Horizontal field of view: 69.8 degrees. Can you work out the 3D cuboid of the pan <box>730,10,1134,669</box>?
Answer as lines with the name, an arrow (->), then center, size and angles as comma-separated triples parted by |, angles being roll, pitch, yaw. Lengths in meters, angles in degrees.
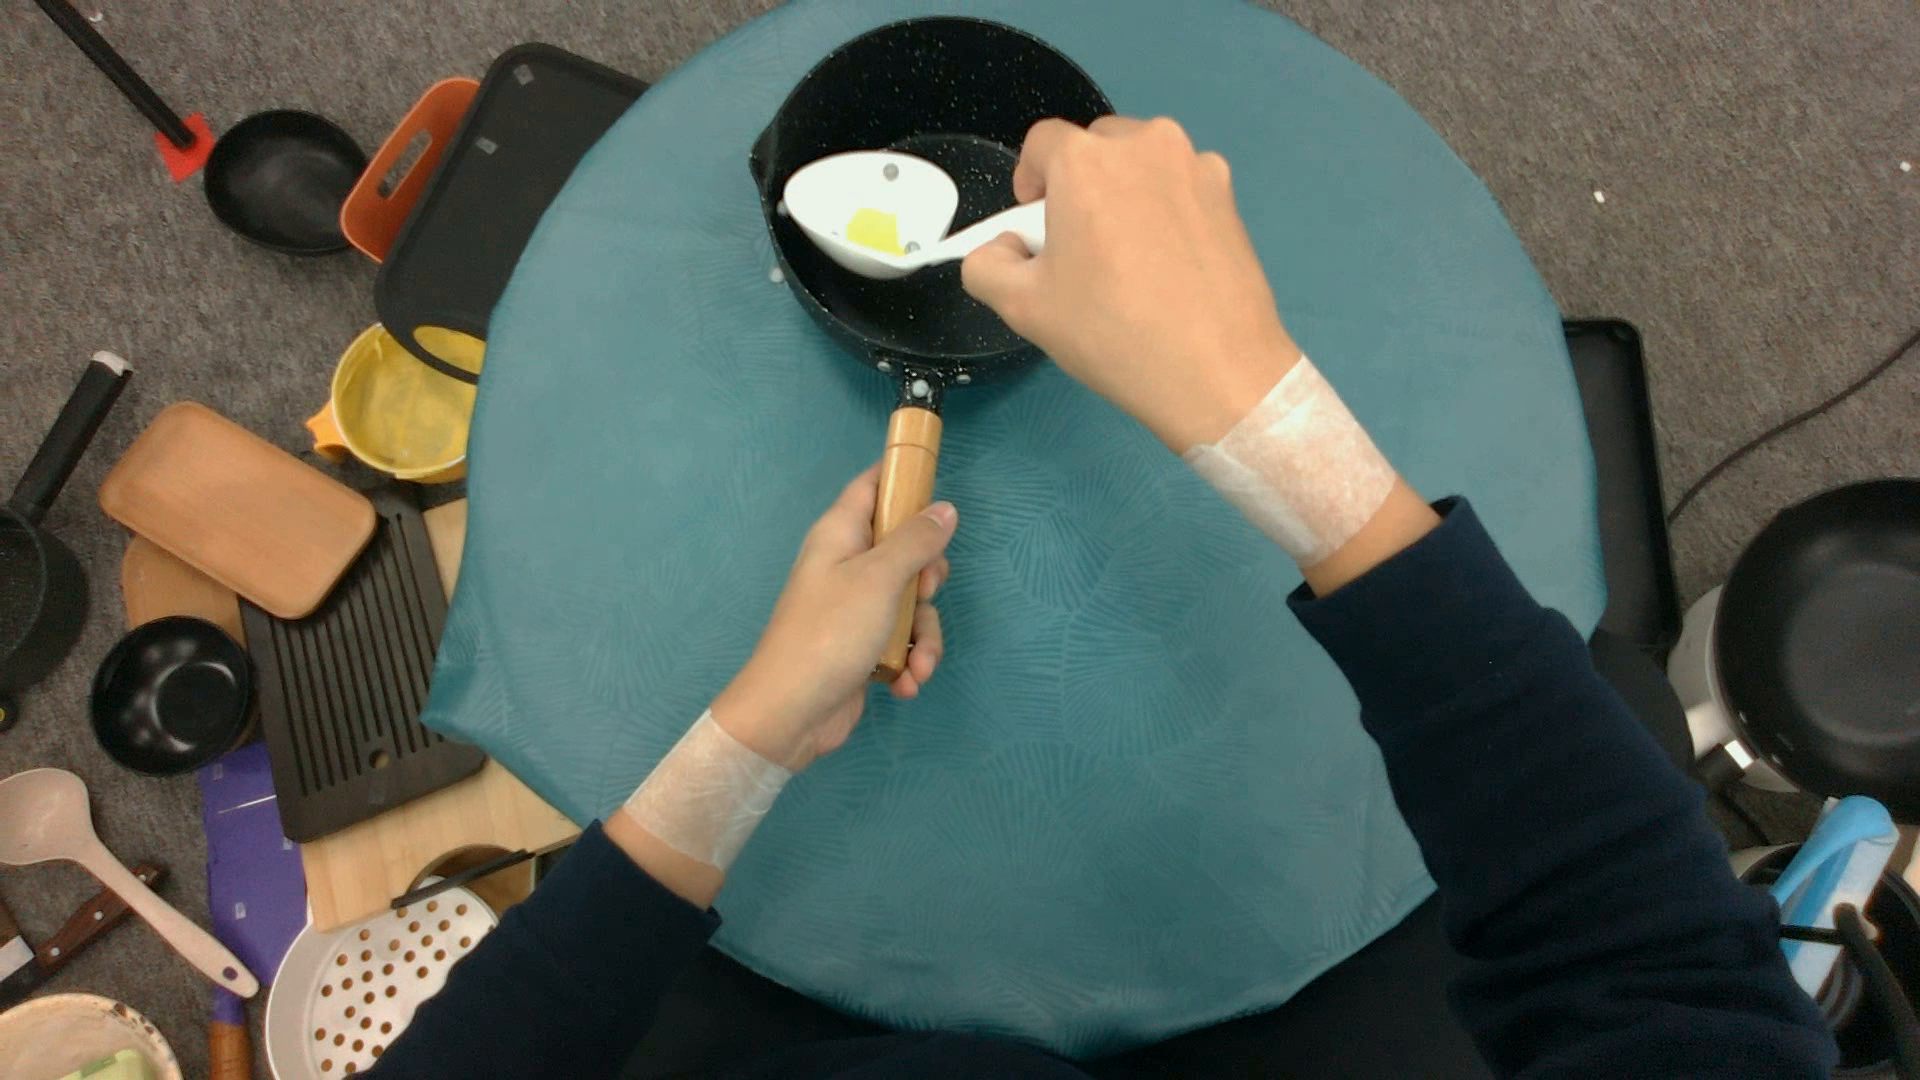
pan -> -0.021, -0.096, 0.687 | 0.207, 0.108, 0.343 | 7, 74, -2

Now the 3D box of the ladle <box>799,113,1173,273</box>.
ladle -> 0.006, -0.160, 0.611 | 0.090, 0.293, 0.070 | -2, 103, -23
